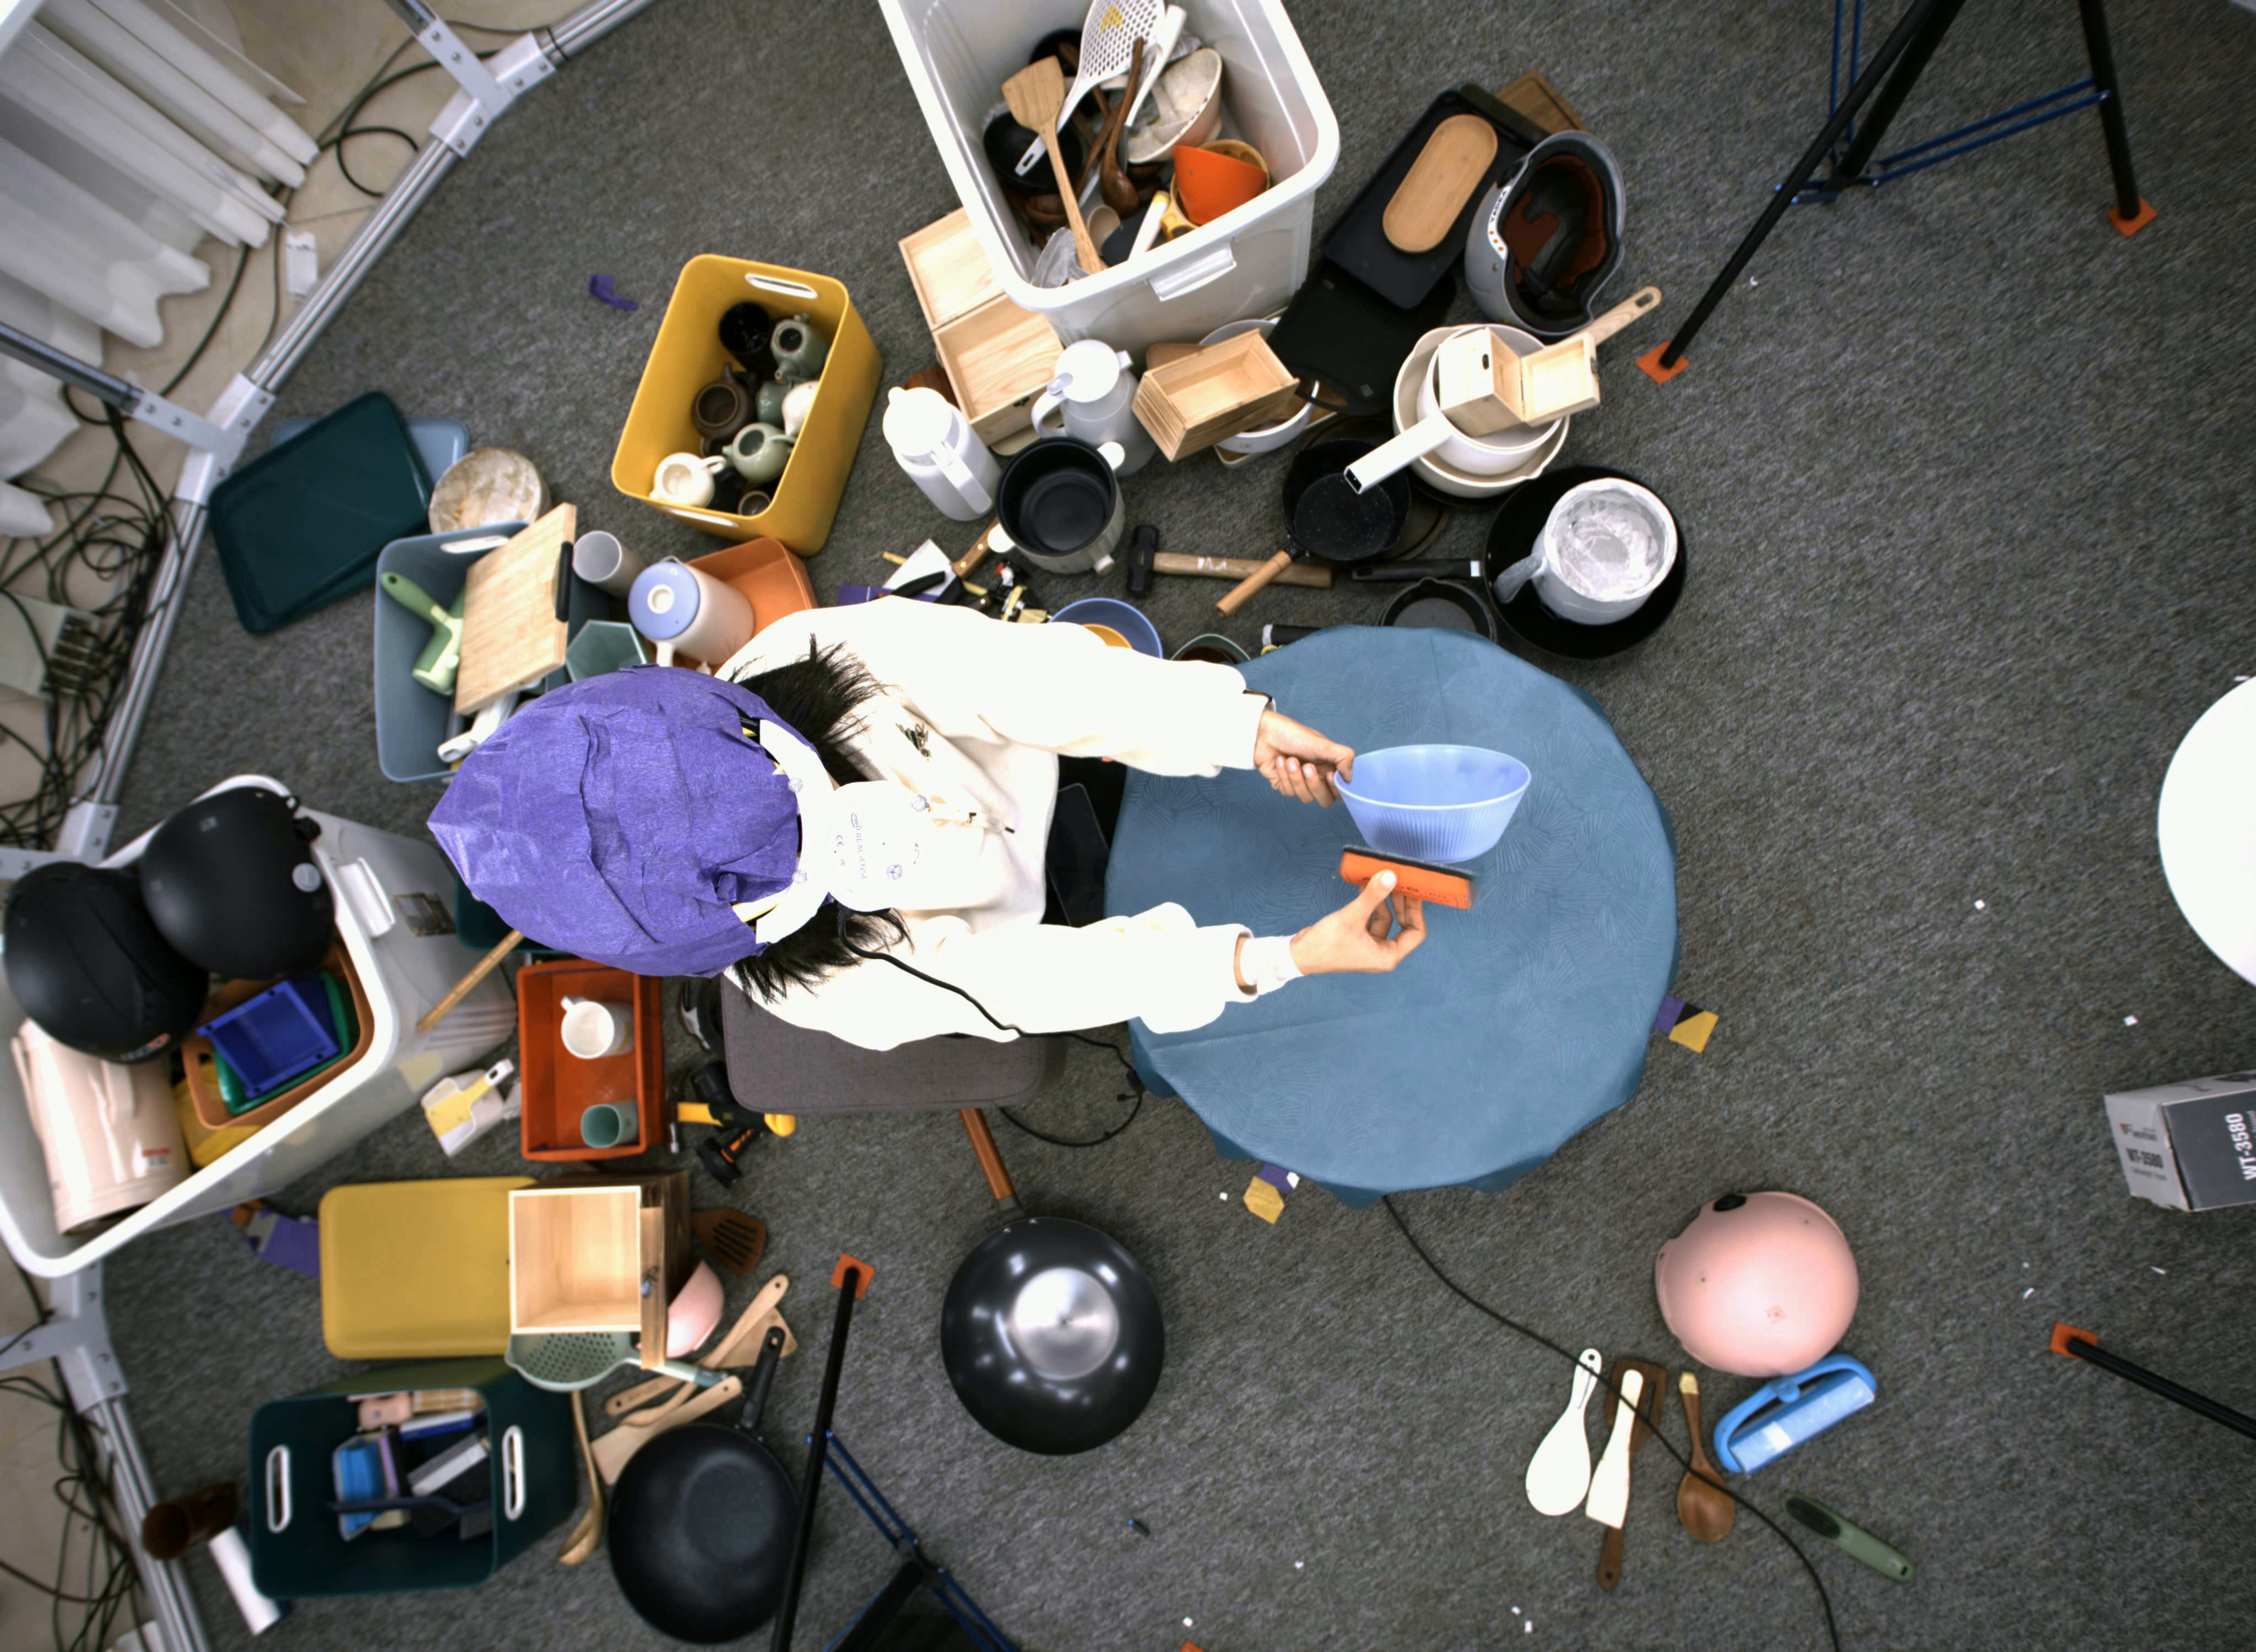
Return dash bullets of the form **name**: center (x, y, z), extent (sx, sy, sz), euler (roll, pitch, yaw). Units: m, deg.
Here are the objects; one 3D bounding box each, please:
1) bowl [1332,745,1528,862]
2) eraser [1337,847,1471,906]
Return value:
- **bowl**: center (0.277, -0.019, 1.263), extent (0.177, 0.172, 0.071), euler (-3, 111, 10)
- **eraser**: center (0.234, 0.042, 1.170), extent (0.108, 0.059, 0.023), euler (12, 84, 19)
